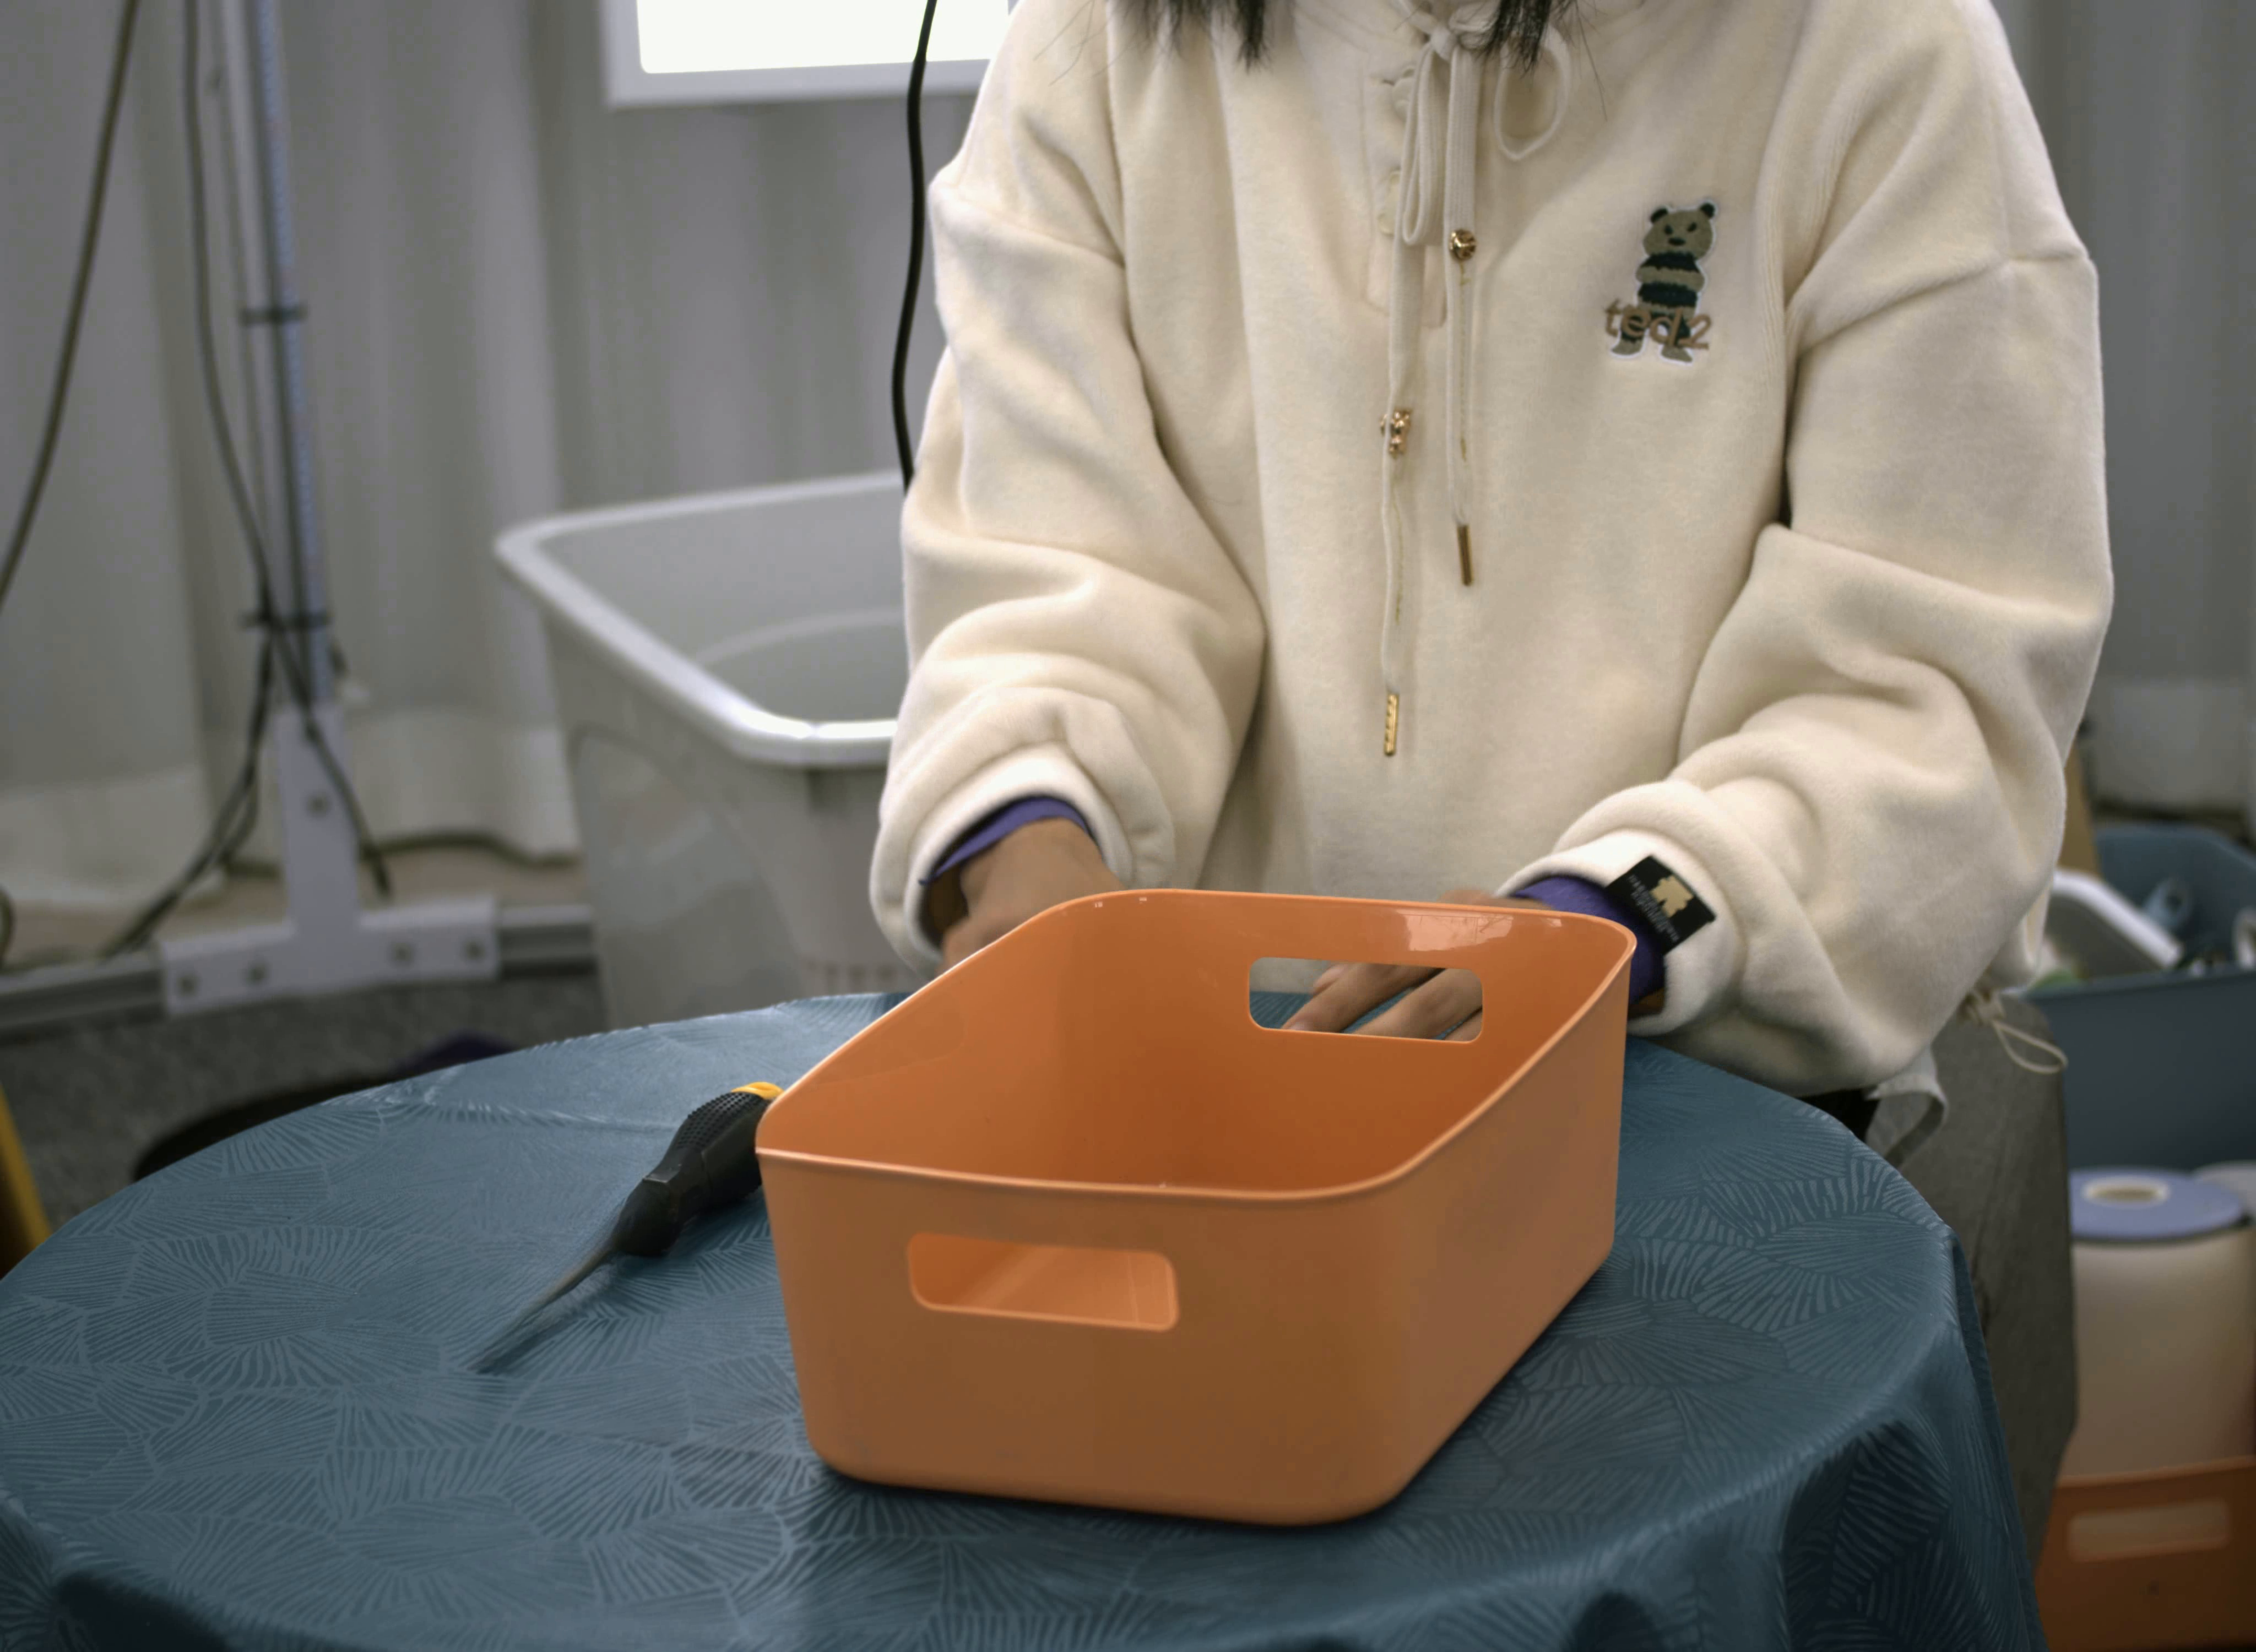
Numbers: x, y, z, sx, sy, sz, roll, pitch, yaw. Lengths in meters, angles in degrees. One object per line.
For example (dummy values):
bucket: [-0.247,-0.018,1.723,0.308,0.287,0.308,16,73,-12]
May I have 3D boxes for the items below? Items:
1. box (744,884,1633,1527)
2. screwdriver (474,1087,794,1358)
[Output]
box: [0.027,0.103,1.549,0.199,0.102,0.274,2,16,22]
screwdriver: [-0.153,0.123,1.673,0.031,0.031,0.198,4,19,25]
